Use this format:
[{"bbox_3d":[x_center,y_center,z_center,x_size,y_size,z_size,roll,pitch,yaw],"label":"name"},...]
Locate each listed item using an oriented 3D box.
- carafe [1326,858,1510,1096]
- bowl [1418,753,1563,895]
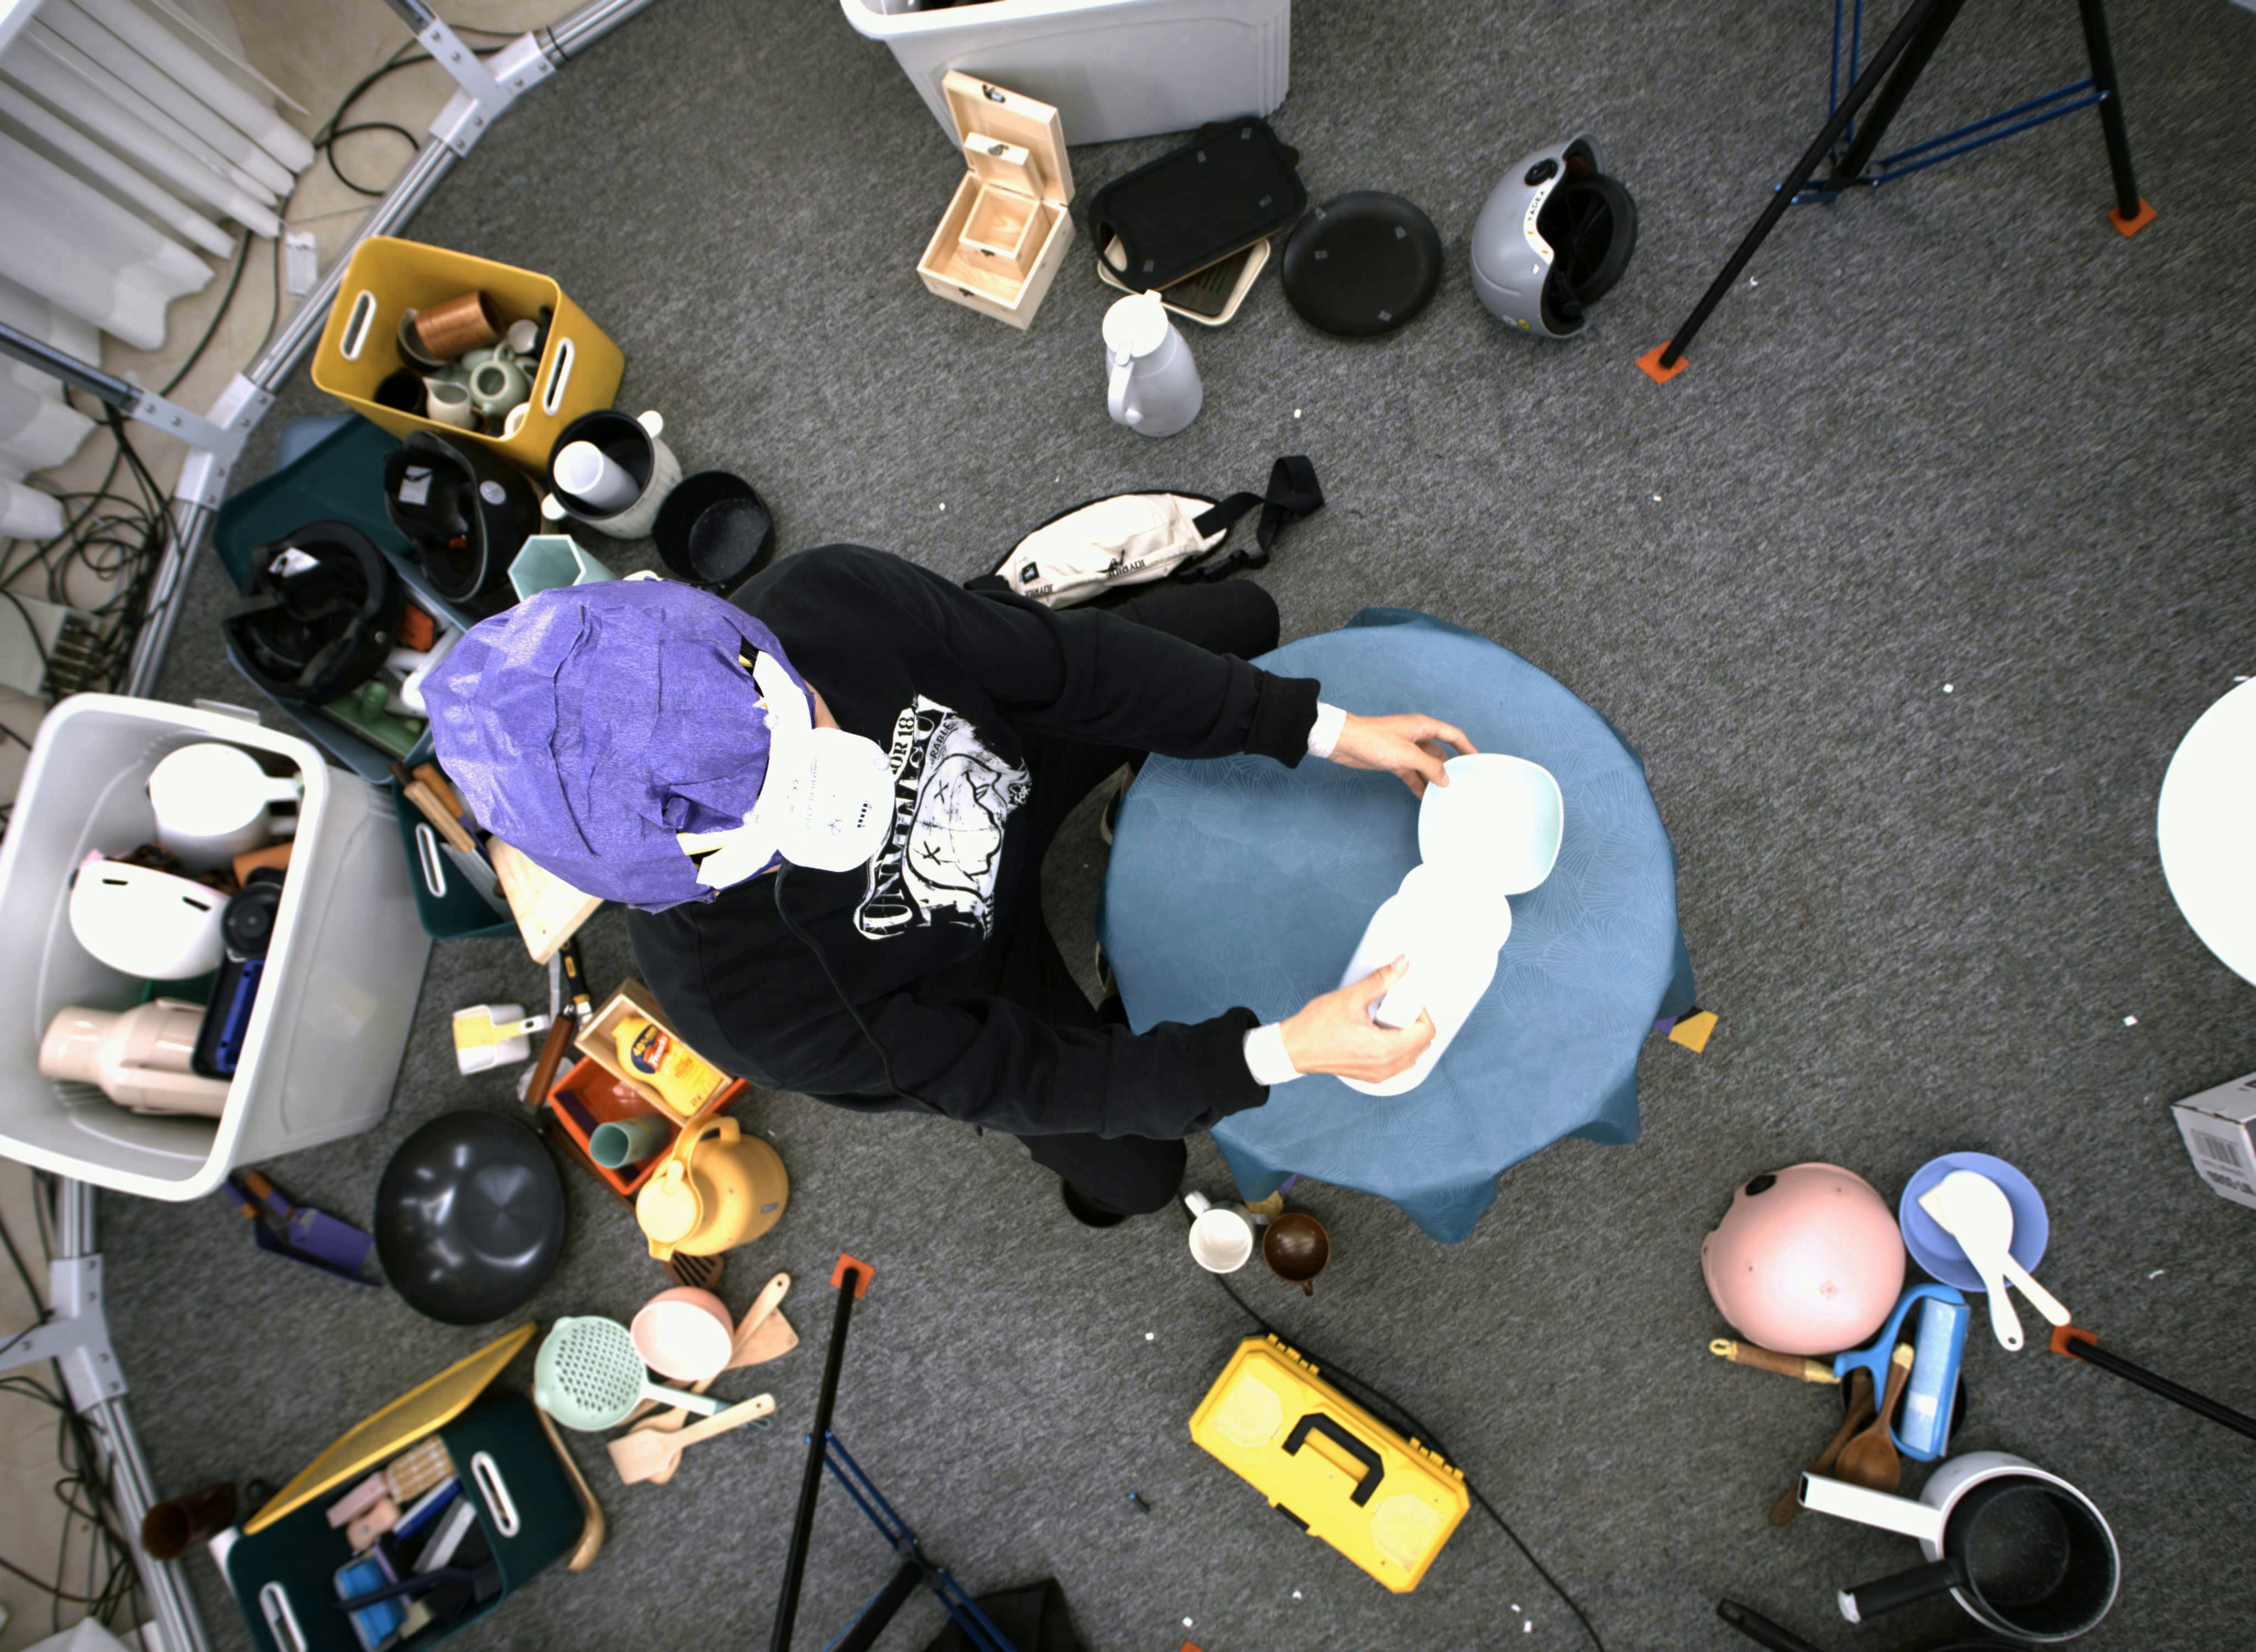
[{"bbox_3d":[0.259,0.159,1.276,0.123,0.275,0.169,29,59,10],"label":"carafe"},{"bbox_3d":[0.363,-0.005,1.380,0.152,0.058,0.152,1,94,15],"label":"bowl"}]
